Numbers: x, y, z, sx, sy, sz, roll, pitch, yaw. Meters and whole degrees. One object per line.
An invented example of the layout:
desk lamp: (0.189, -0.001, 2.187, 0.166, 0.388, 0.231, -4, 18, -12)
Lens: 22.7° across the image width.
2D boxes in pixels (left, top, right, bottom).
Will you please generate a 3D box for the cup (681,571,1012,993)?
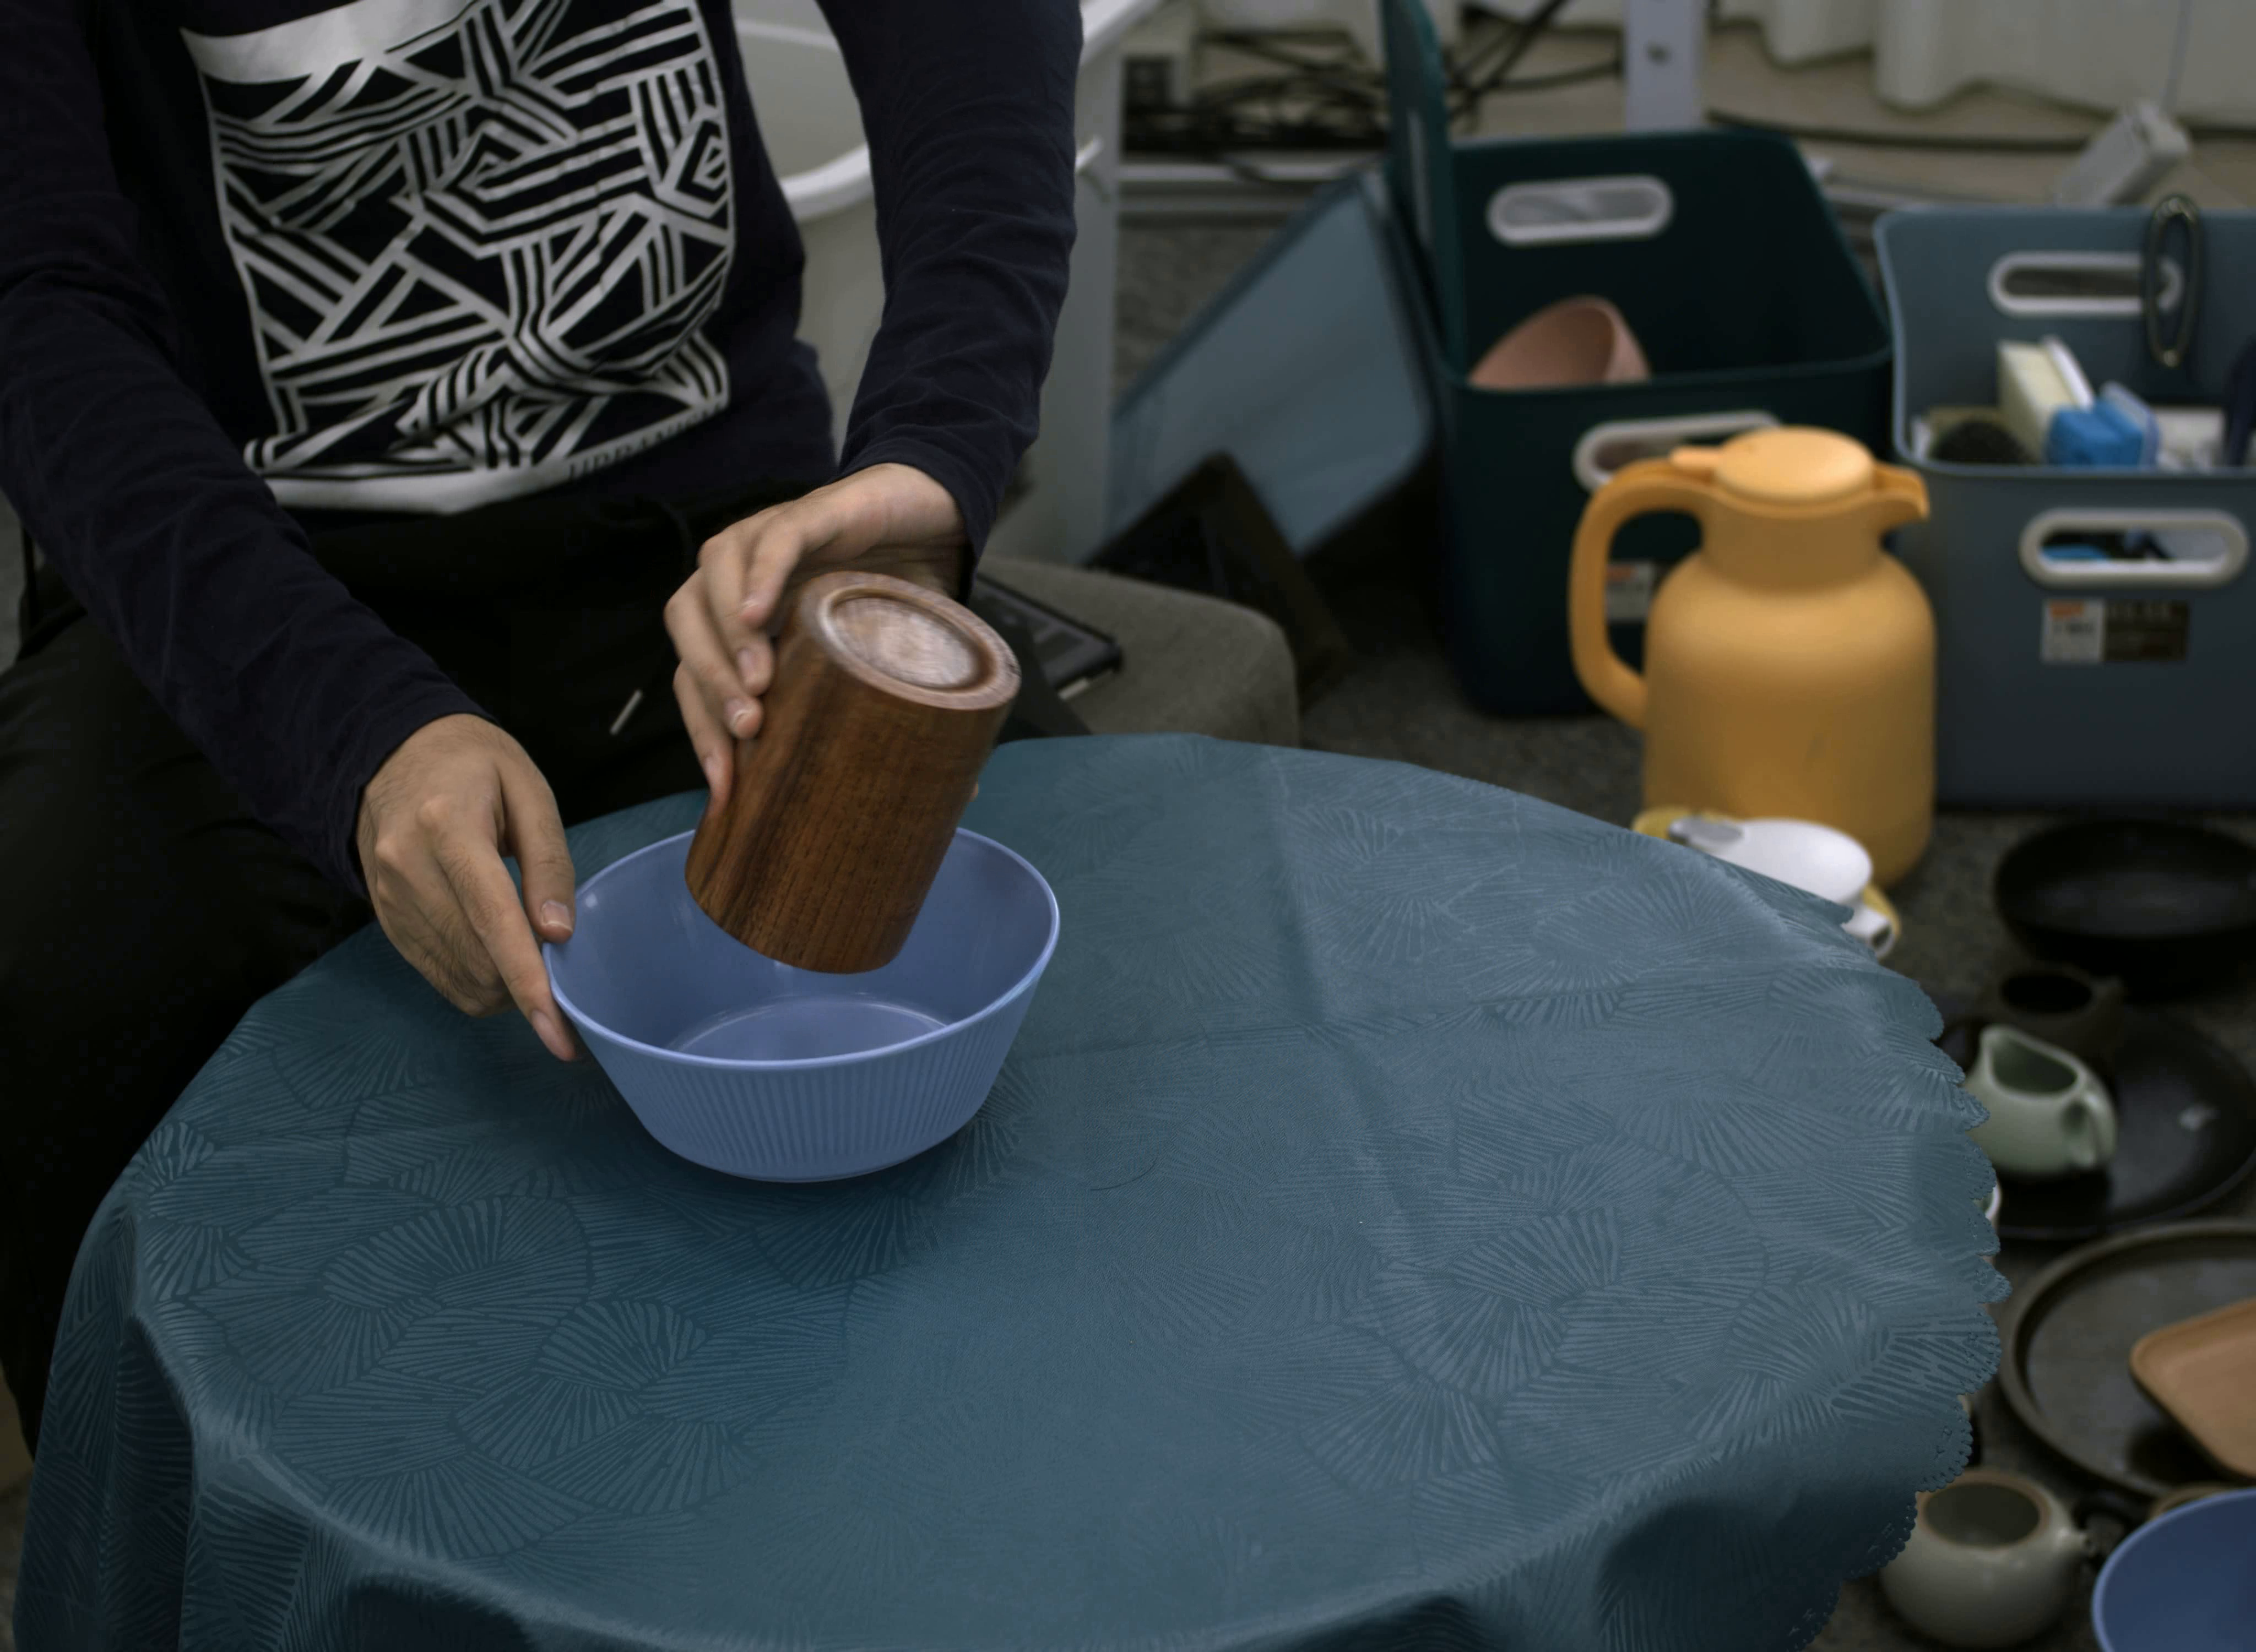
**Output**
cup: (-0.093, -0.014, 1.868, 0.087, 0.117, 0.089, 17, 29, -10)

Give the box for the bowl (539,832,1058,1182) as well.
bowl: (-0.109, 0.065, 1.905, 0.175, 0.069, 0.179, -2, 26, 1)
